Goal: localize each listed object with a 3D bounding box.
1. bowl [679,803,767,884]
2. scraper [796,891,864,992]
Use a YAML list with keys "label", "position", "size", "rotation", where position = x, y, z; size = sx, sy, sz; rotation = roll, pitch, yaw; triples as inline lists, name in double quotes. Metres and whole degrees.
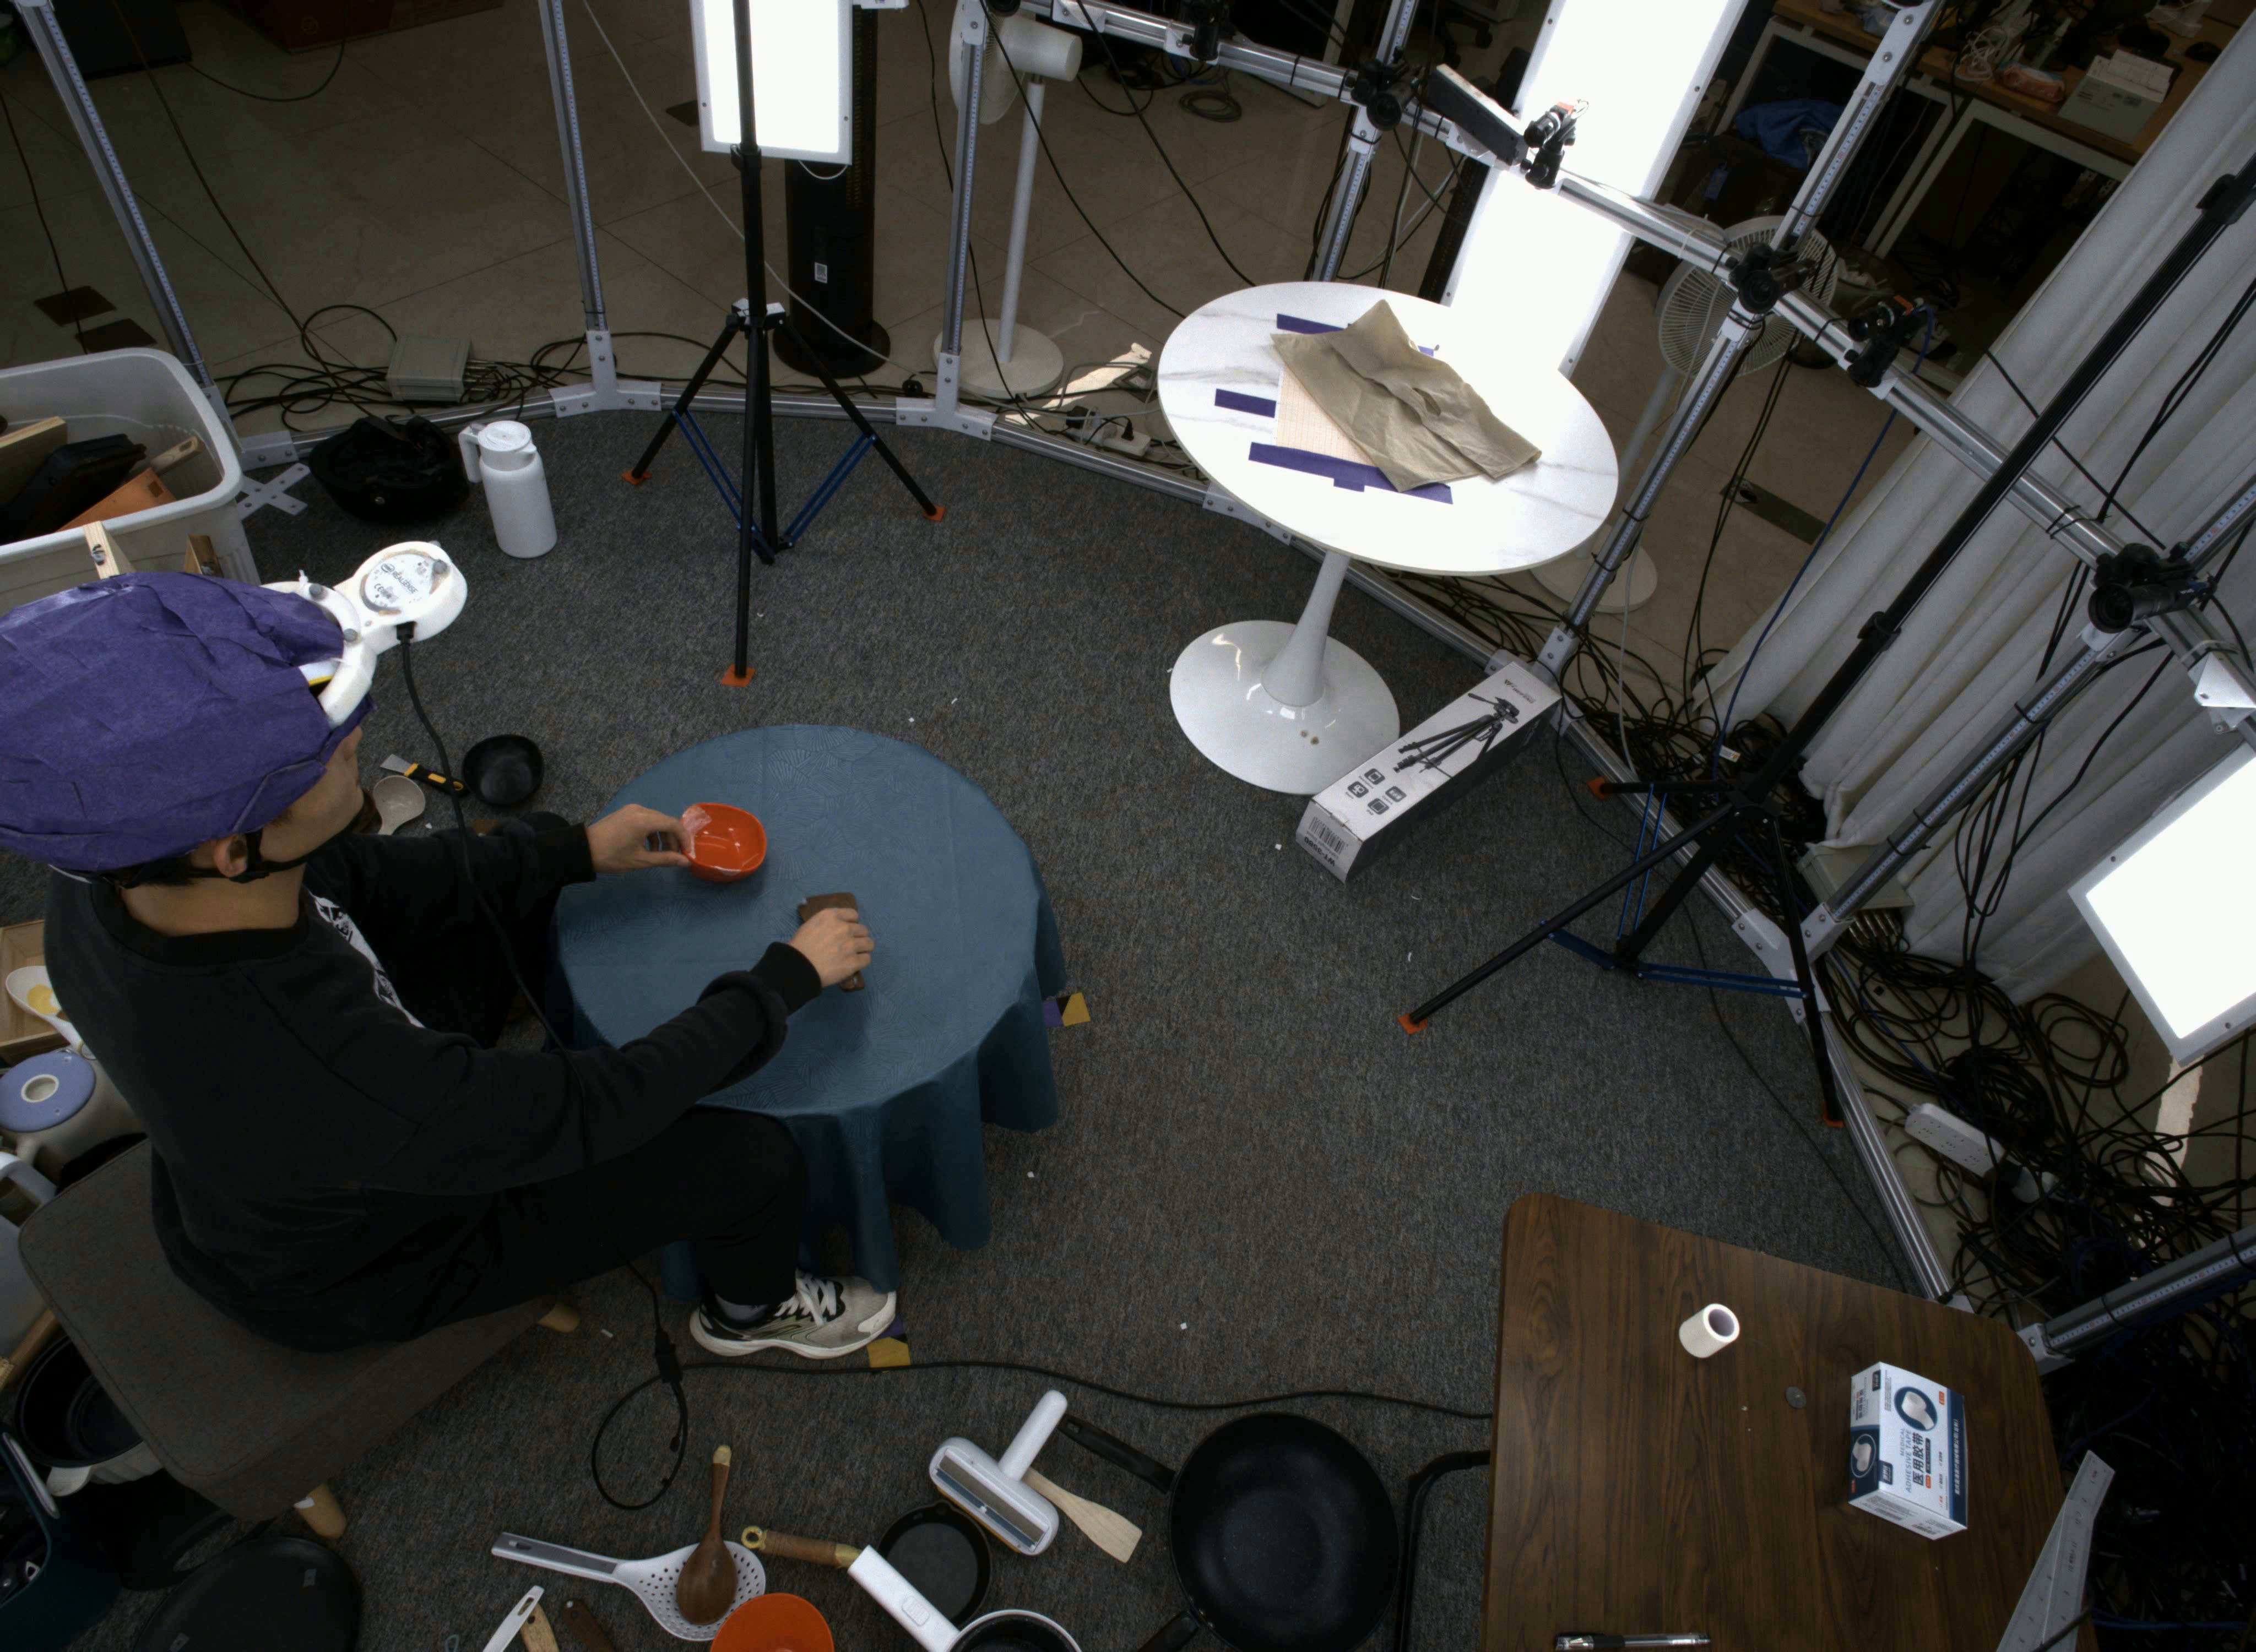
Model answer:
- label: "bowl"
  position: [-0.519, 0.029, 1.640]
  size: [0.120, 0.052, 0.116]
  rotation: [22, 41, -19]
- label: "scraper"
  position: [-0.355, 0.139, 1.589]
  size: [0.076, 0.011, 0.204]
  rotation: [-7, 32, -20]
